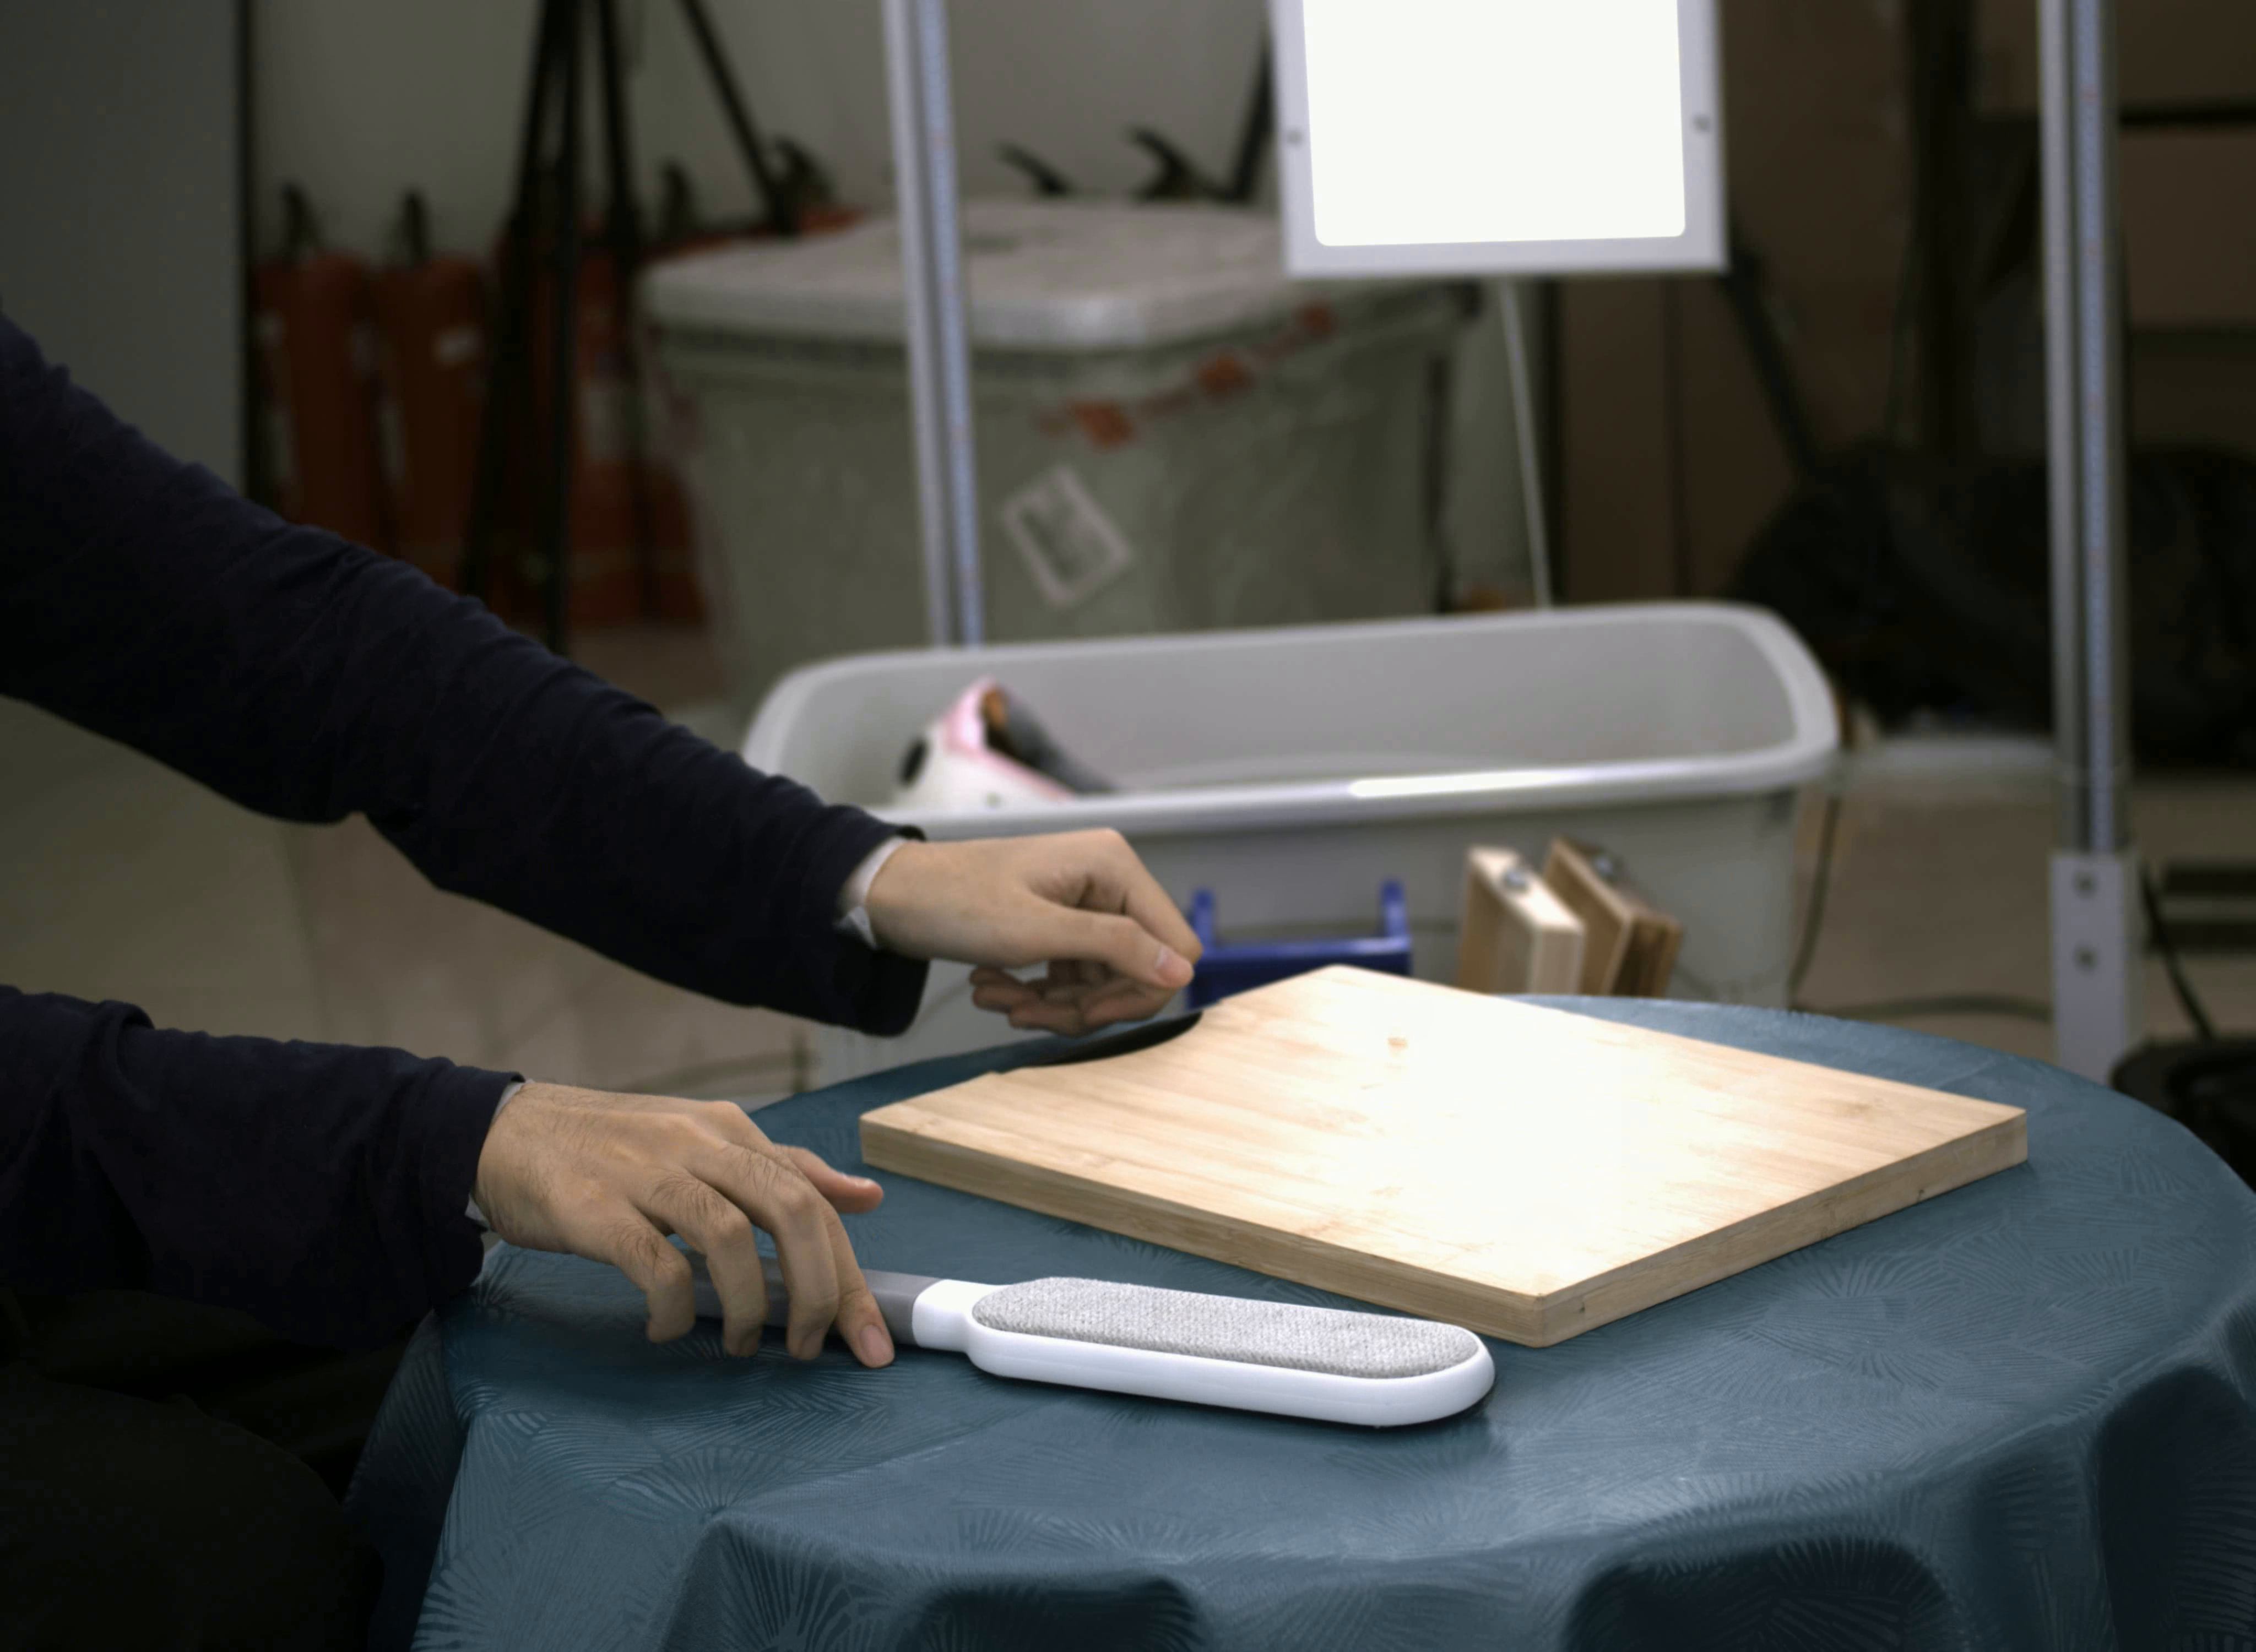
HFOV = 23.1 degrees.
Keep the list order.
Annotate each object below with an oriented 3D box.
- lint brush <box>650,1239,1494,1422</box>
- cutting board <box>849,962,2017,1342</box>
[{"bbox_3d":[-0.024,0.155,1.737,0.315,0.021,0.058,4,22,34],"label":"lint brush"},{"bbox_3d":[0.102,0.108,1.910,0.244,0.023,0.356,-16,17,-39],"label":"cutting board"}]
